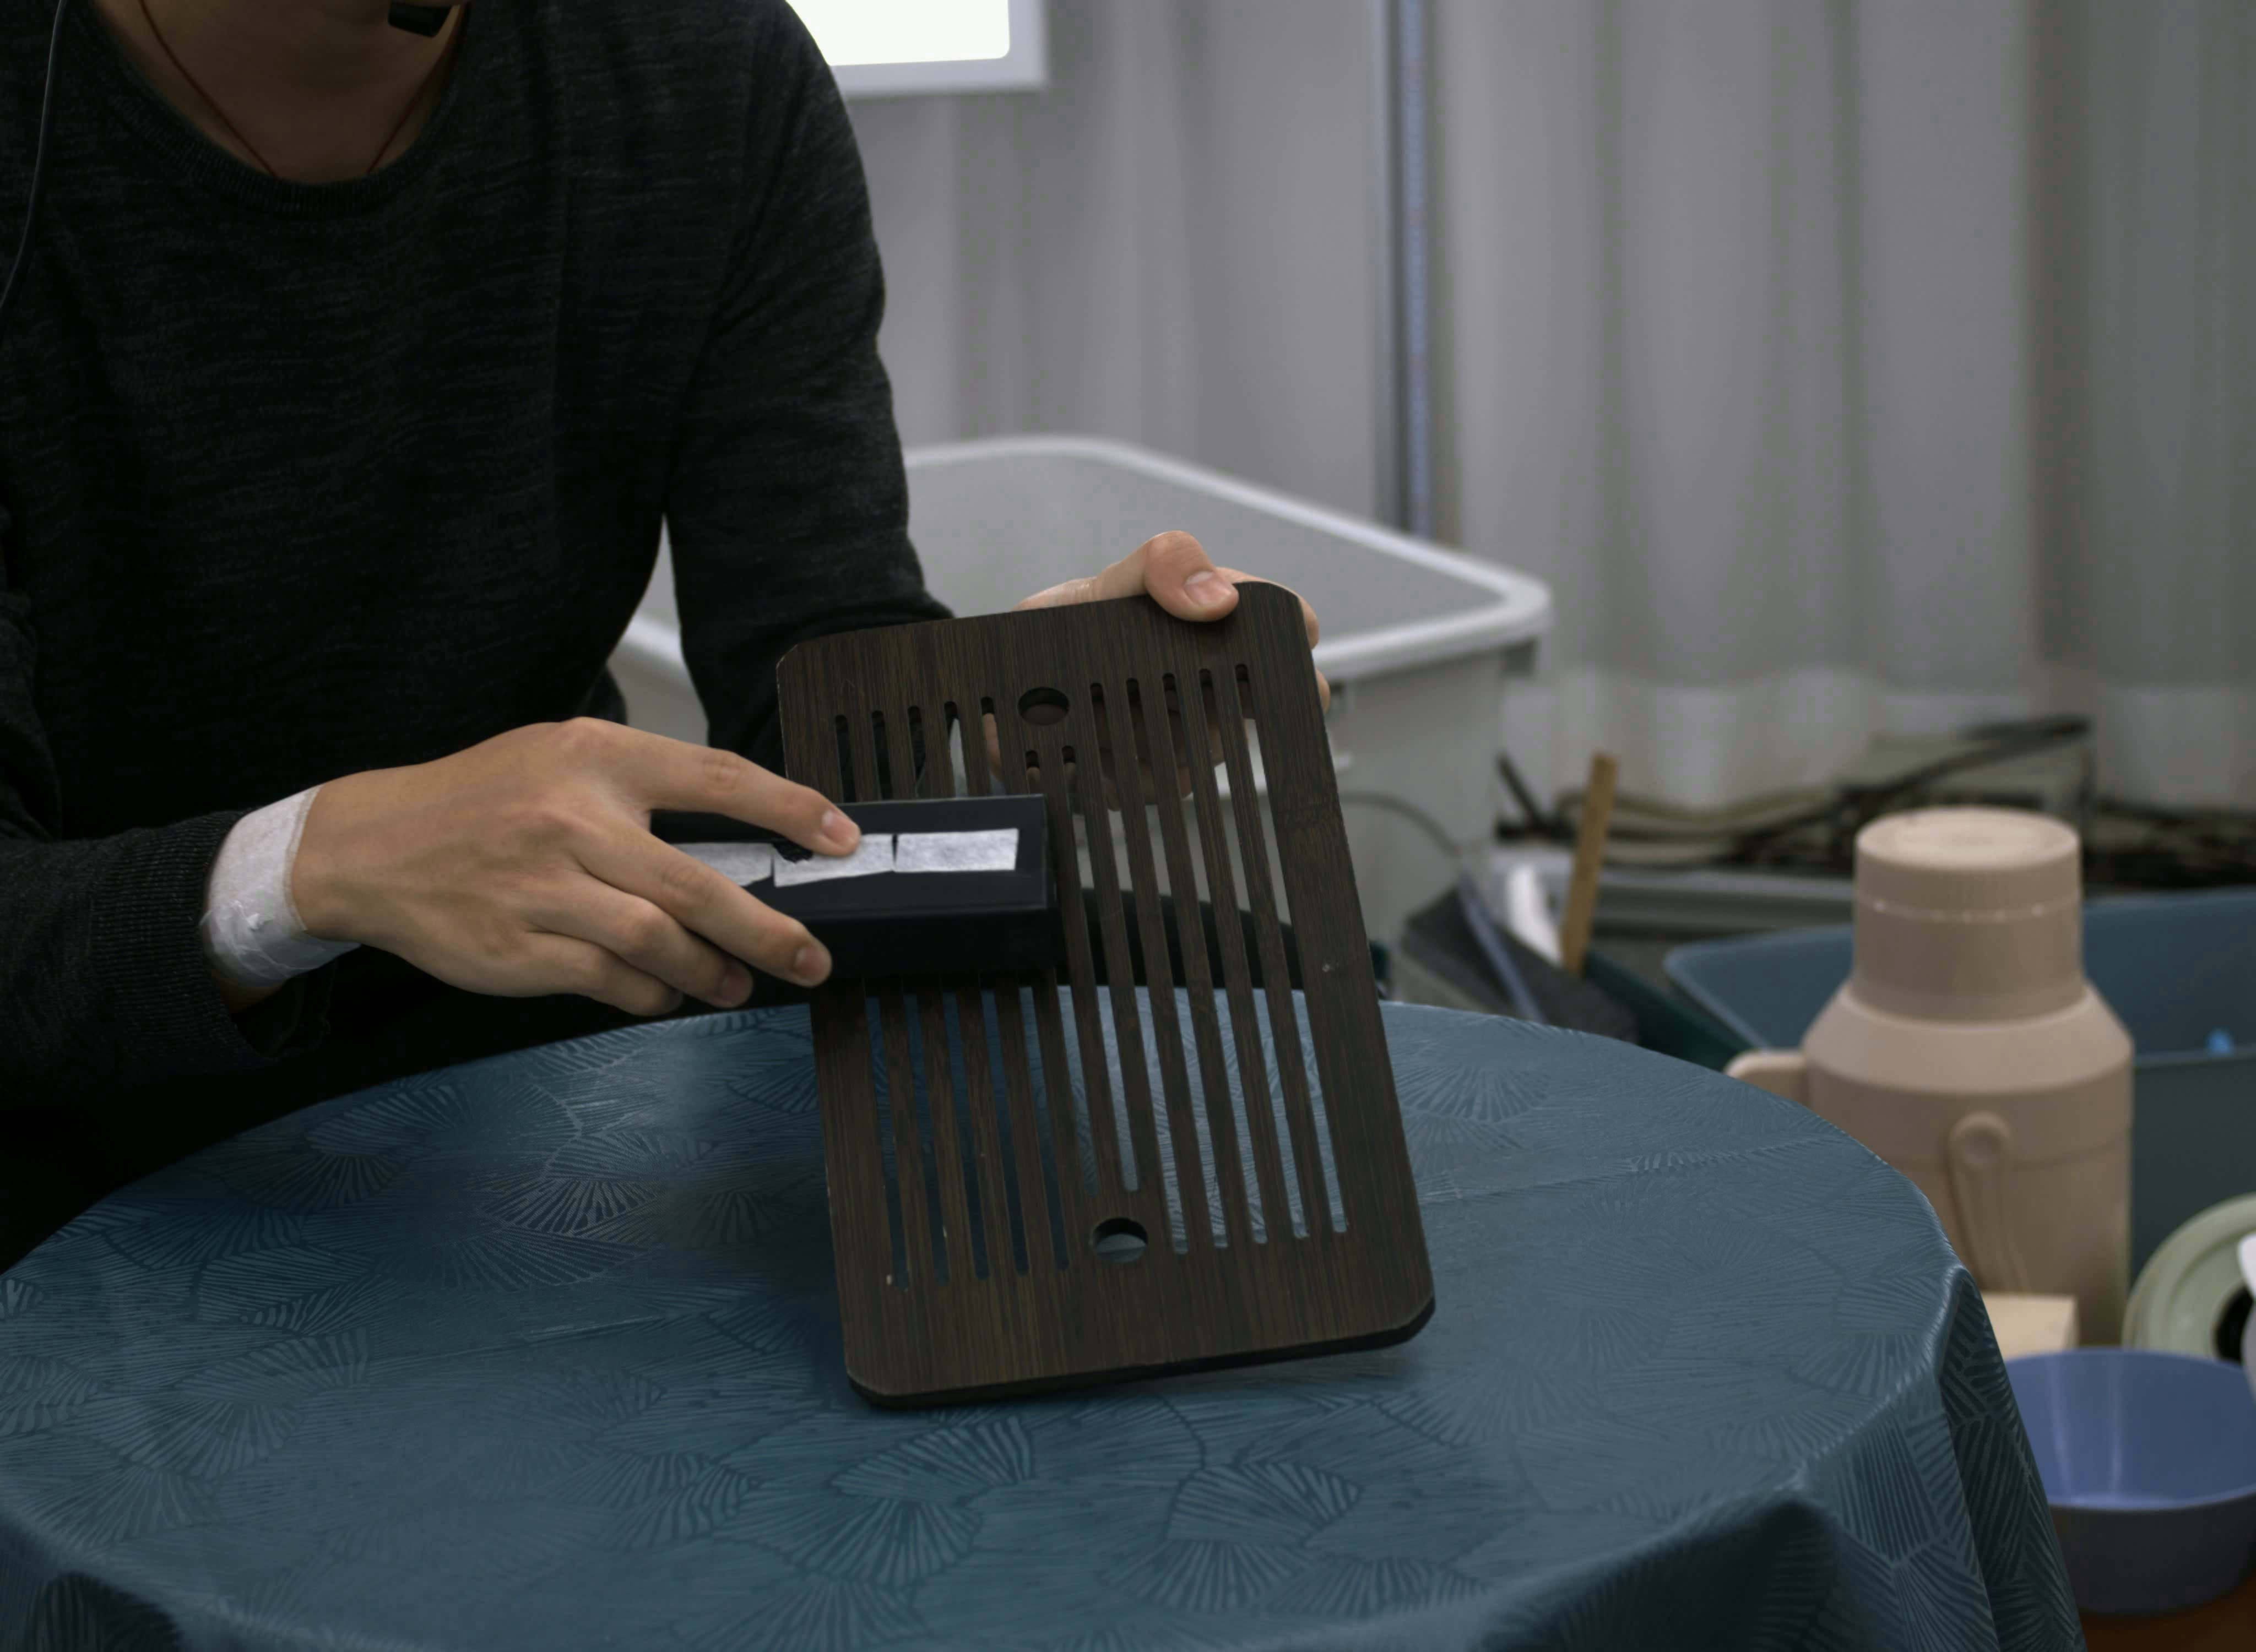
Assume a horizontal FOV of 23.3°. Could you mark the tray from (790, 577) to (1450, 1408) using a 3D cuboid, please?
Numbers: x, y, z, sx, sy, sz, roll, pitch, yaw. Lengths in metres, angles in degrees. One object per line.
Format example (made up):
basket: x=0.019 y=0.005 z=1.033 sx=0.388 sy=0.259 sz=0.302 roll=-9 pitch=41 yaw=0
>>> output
tray: x=-0.008 y=0.045 z=1.646 sx=0.169 sy=0.018 sz=0.311 roll=-7 pitch=46 yaw=-1

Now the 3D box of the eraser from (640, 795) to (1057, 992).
eraser: x=-0.083 y=0.020 z=1.646 sx=0.125 sy=0.030 sz=0.054 roll=-4 pitch=43 yaw=2
